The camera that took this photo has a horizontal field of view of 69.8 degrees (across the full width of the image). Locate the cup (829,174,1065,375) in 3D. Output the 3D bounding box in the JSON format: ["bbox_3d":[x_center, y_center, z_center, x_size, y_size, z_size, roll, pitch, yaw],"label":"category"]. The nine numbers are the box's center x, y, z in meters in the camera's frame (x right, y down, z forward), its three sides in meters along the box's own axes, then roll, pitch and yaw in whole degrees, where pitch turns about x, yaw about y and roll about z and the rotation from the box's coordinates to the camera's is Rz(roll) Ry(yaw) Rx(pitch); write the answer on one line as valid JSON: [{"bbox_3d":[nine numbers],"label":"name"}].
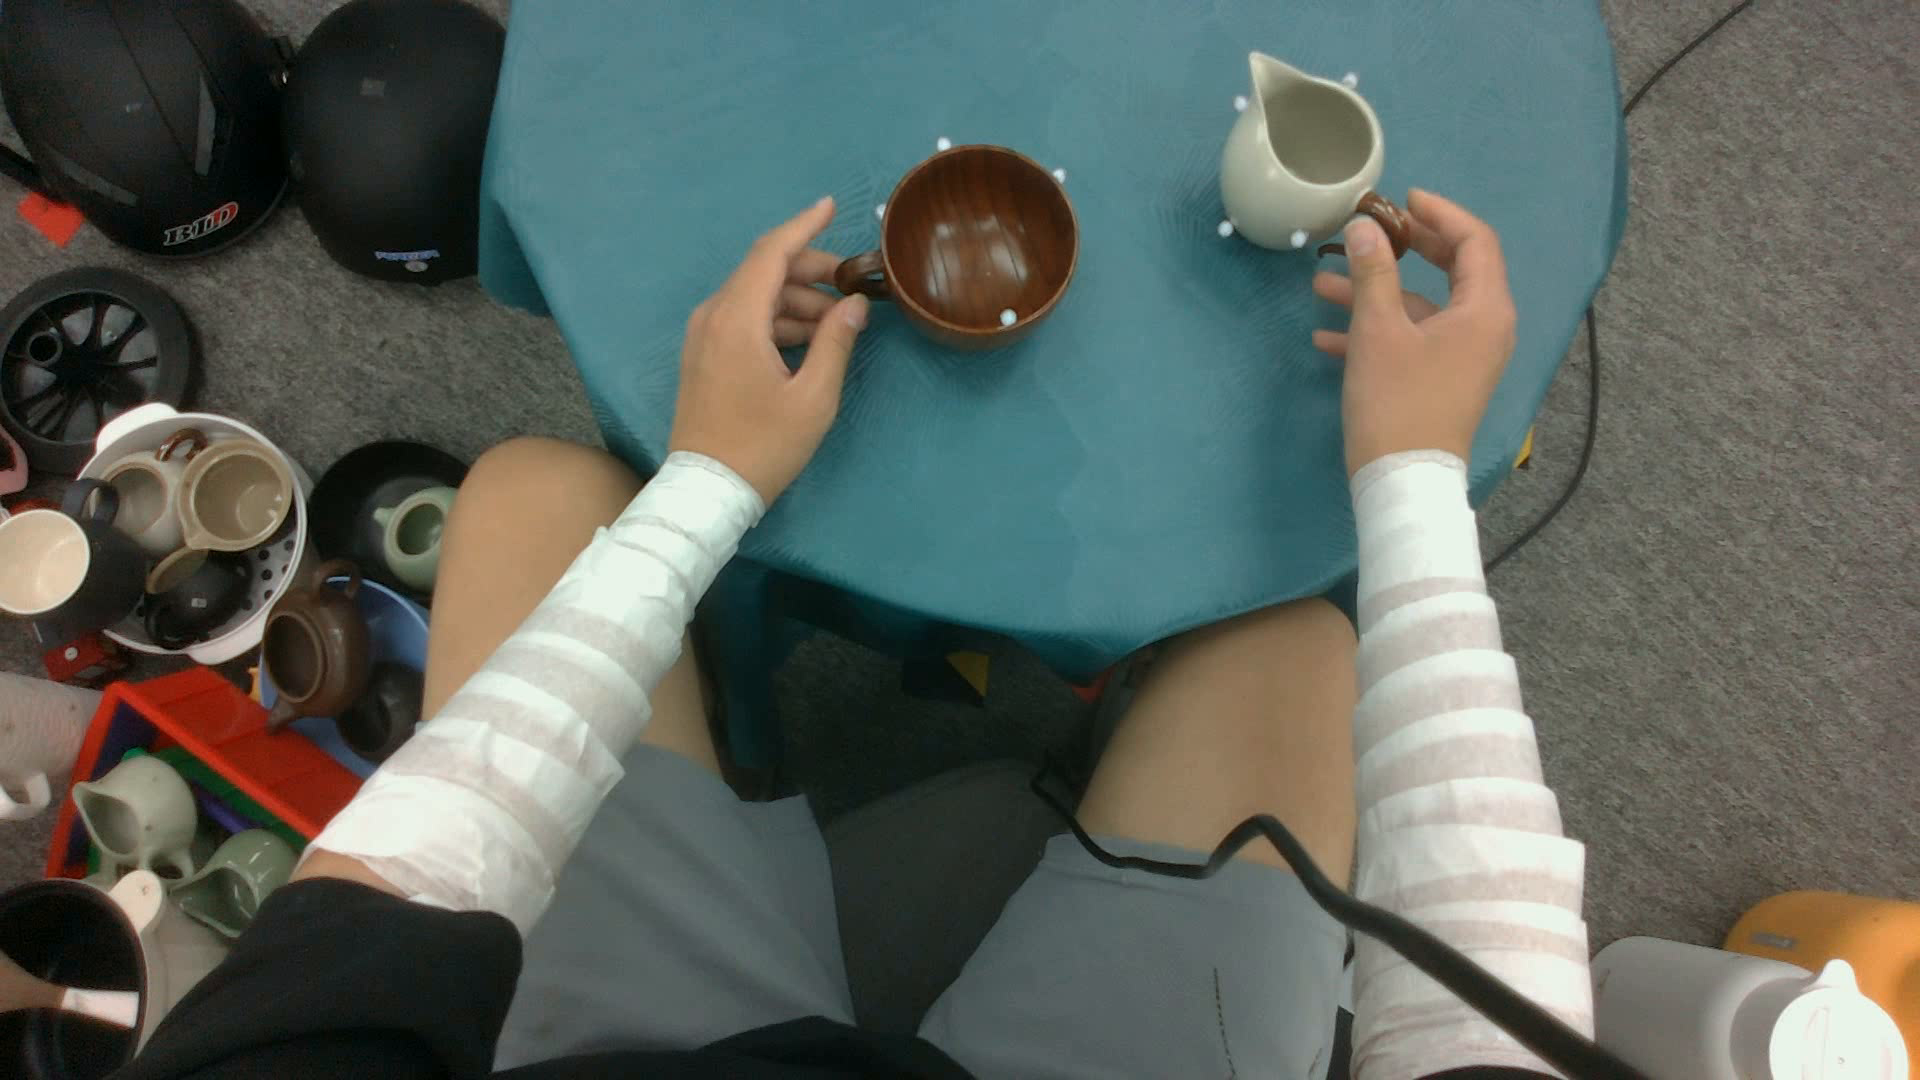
[{"bbox_3d":[-0.008,-0.126,0.700,0.119,0.067,0.096,-16,83,-4],"label":"cup"}]

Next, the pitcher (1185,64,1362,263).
[{"bbox_3d":[0.159,-0.181,0.706,0.076,0.087,0.119,-40,79,-4],"label":"pitcher"}]
